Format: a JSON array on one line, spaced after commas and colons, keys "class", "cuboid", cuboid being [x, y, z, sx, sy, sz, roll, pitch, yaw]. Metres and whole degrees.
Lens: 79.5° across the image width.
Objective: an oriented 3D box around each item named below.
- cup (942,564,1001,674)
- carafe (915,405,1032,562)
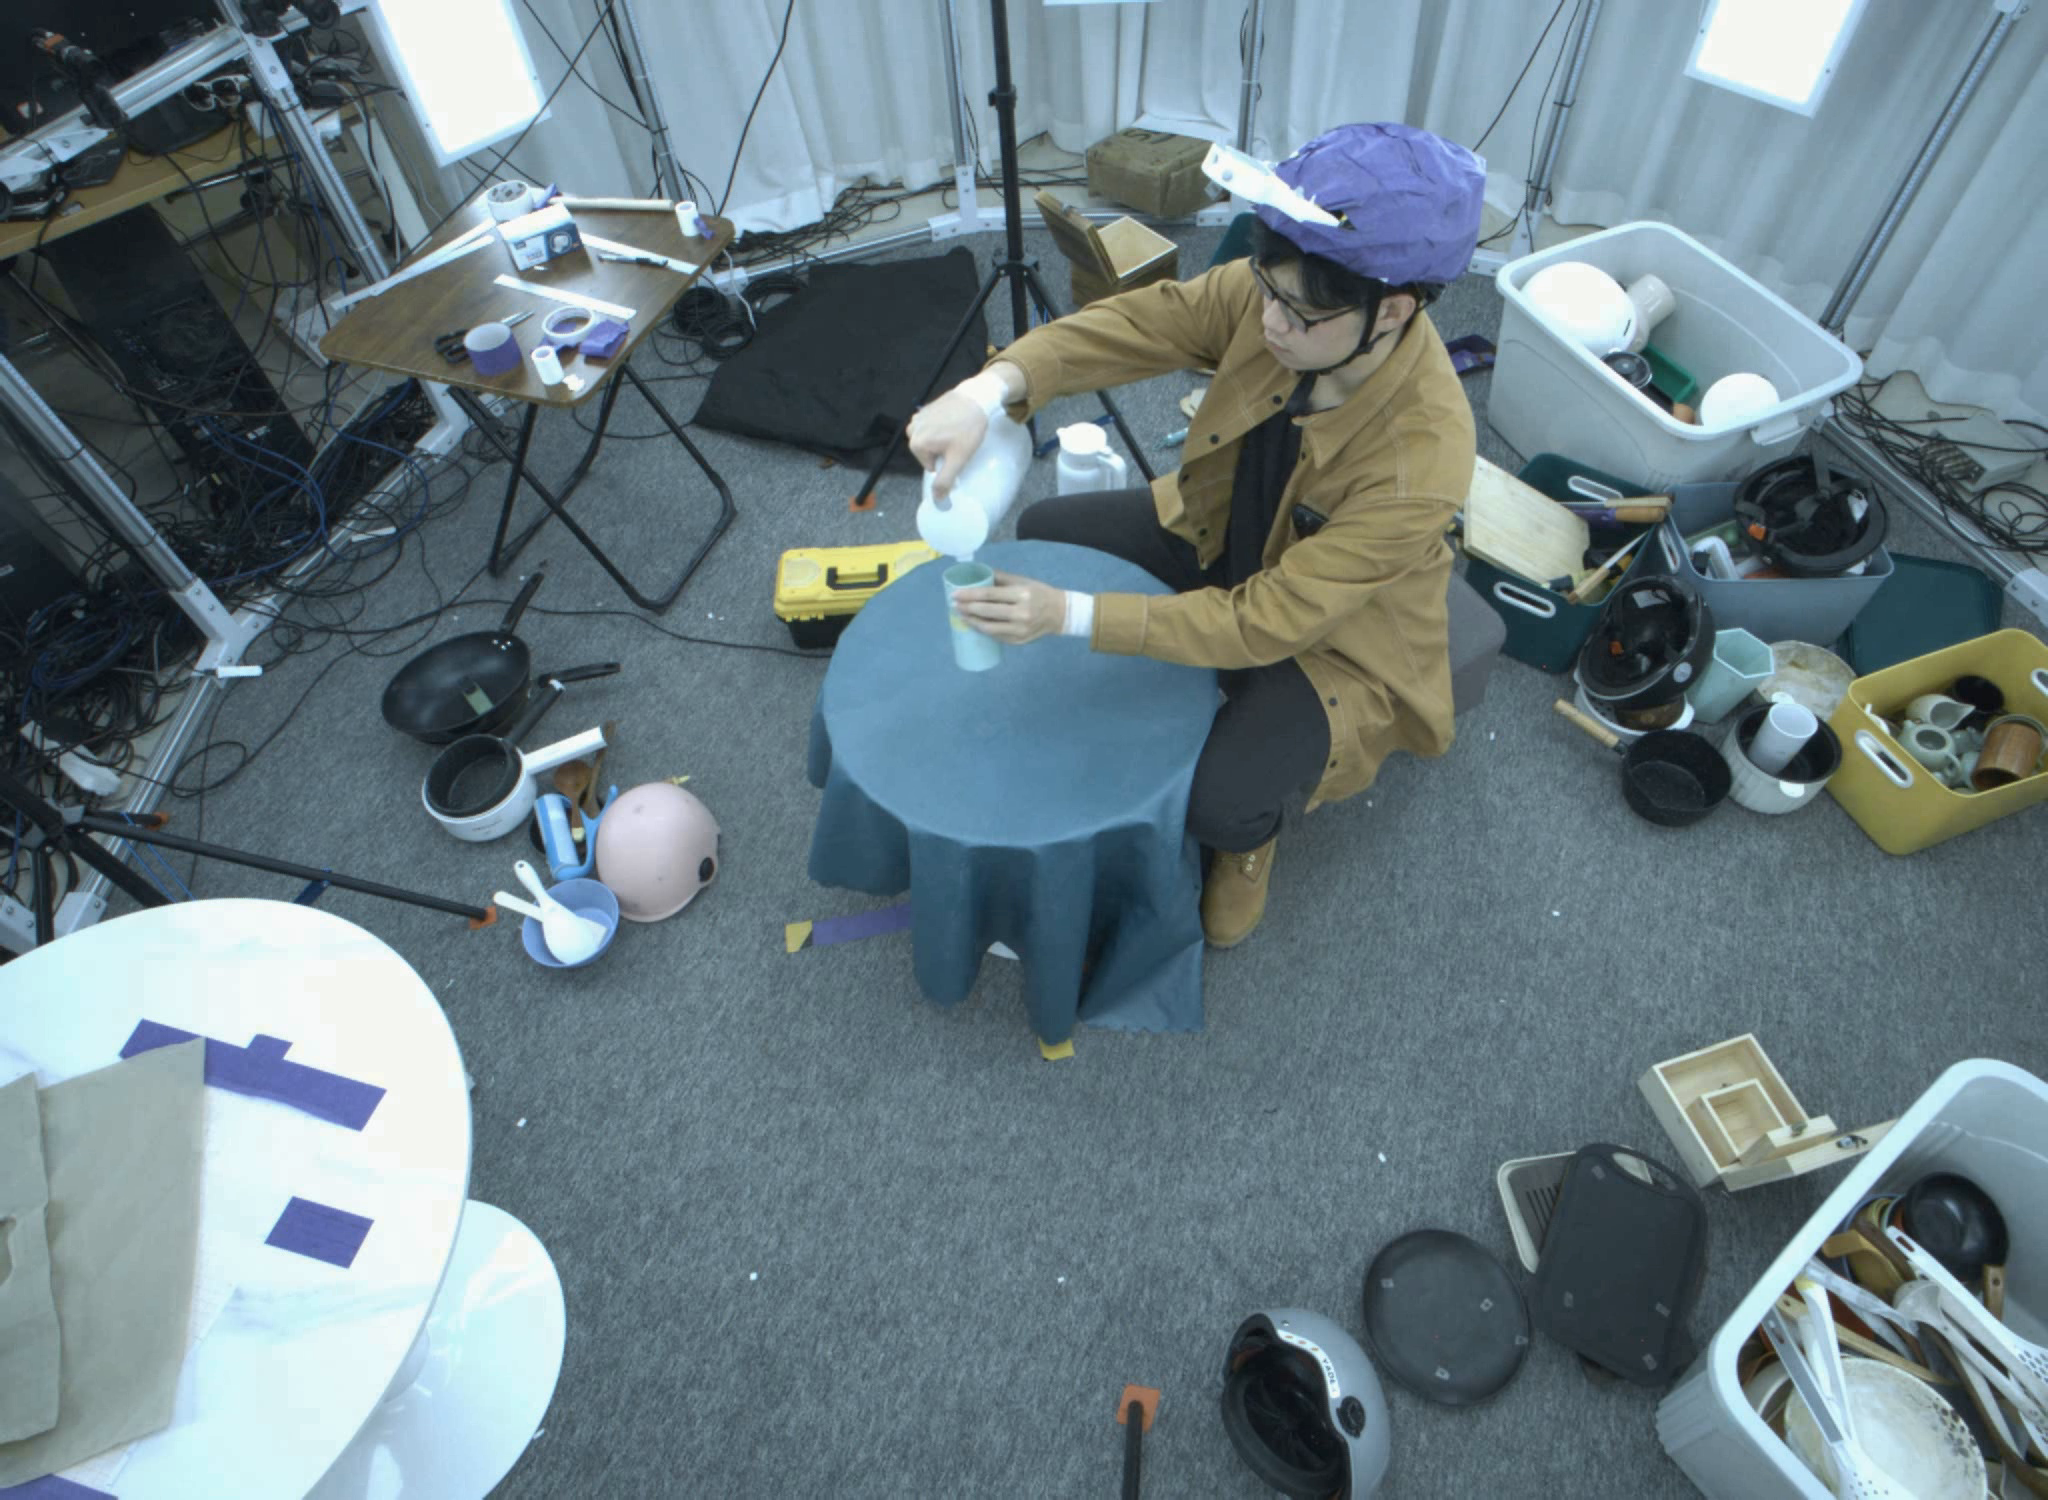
[{"class": "cup", "cuboid": [-0.068, -0.173, 1.622, 0.066, 0.134, 0.066, -4, 38, 4]}, {"class": "carafe", "cuboid": [-0.080, -0.368, 1.598, 0.131, 0.170, 0.247, -4, 37, 15]}]
